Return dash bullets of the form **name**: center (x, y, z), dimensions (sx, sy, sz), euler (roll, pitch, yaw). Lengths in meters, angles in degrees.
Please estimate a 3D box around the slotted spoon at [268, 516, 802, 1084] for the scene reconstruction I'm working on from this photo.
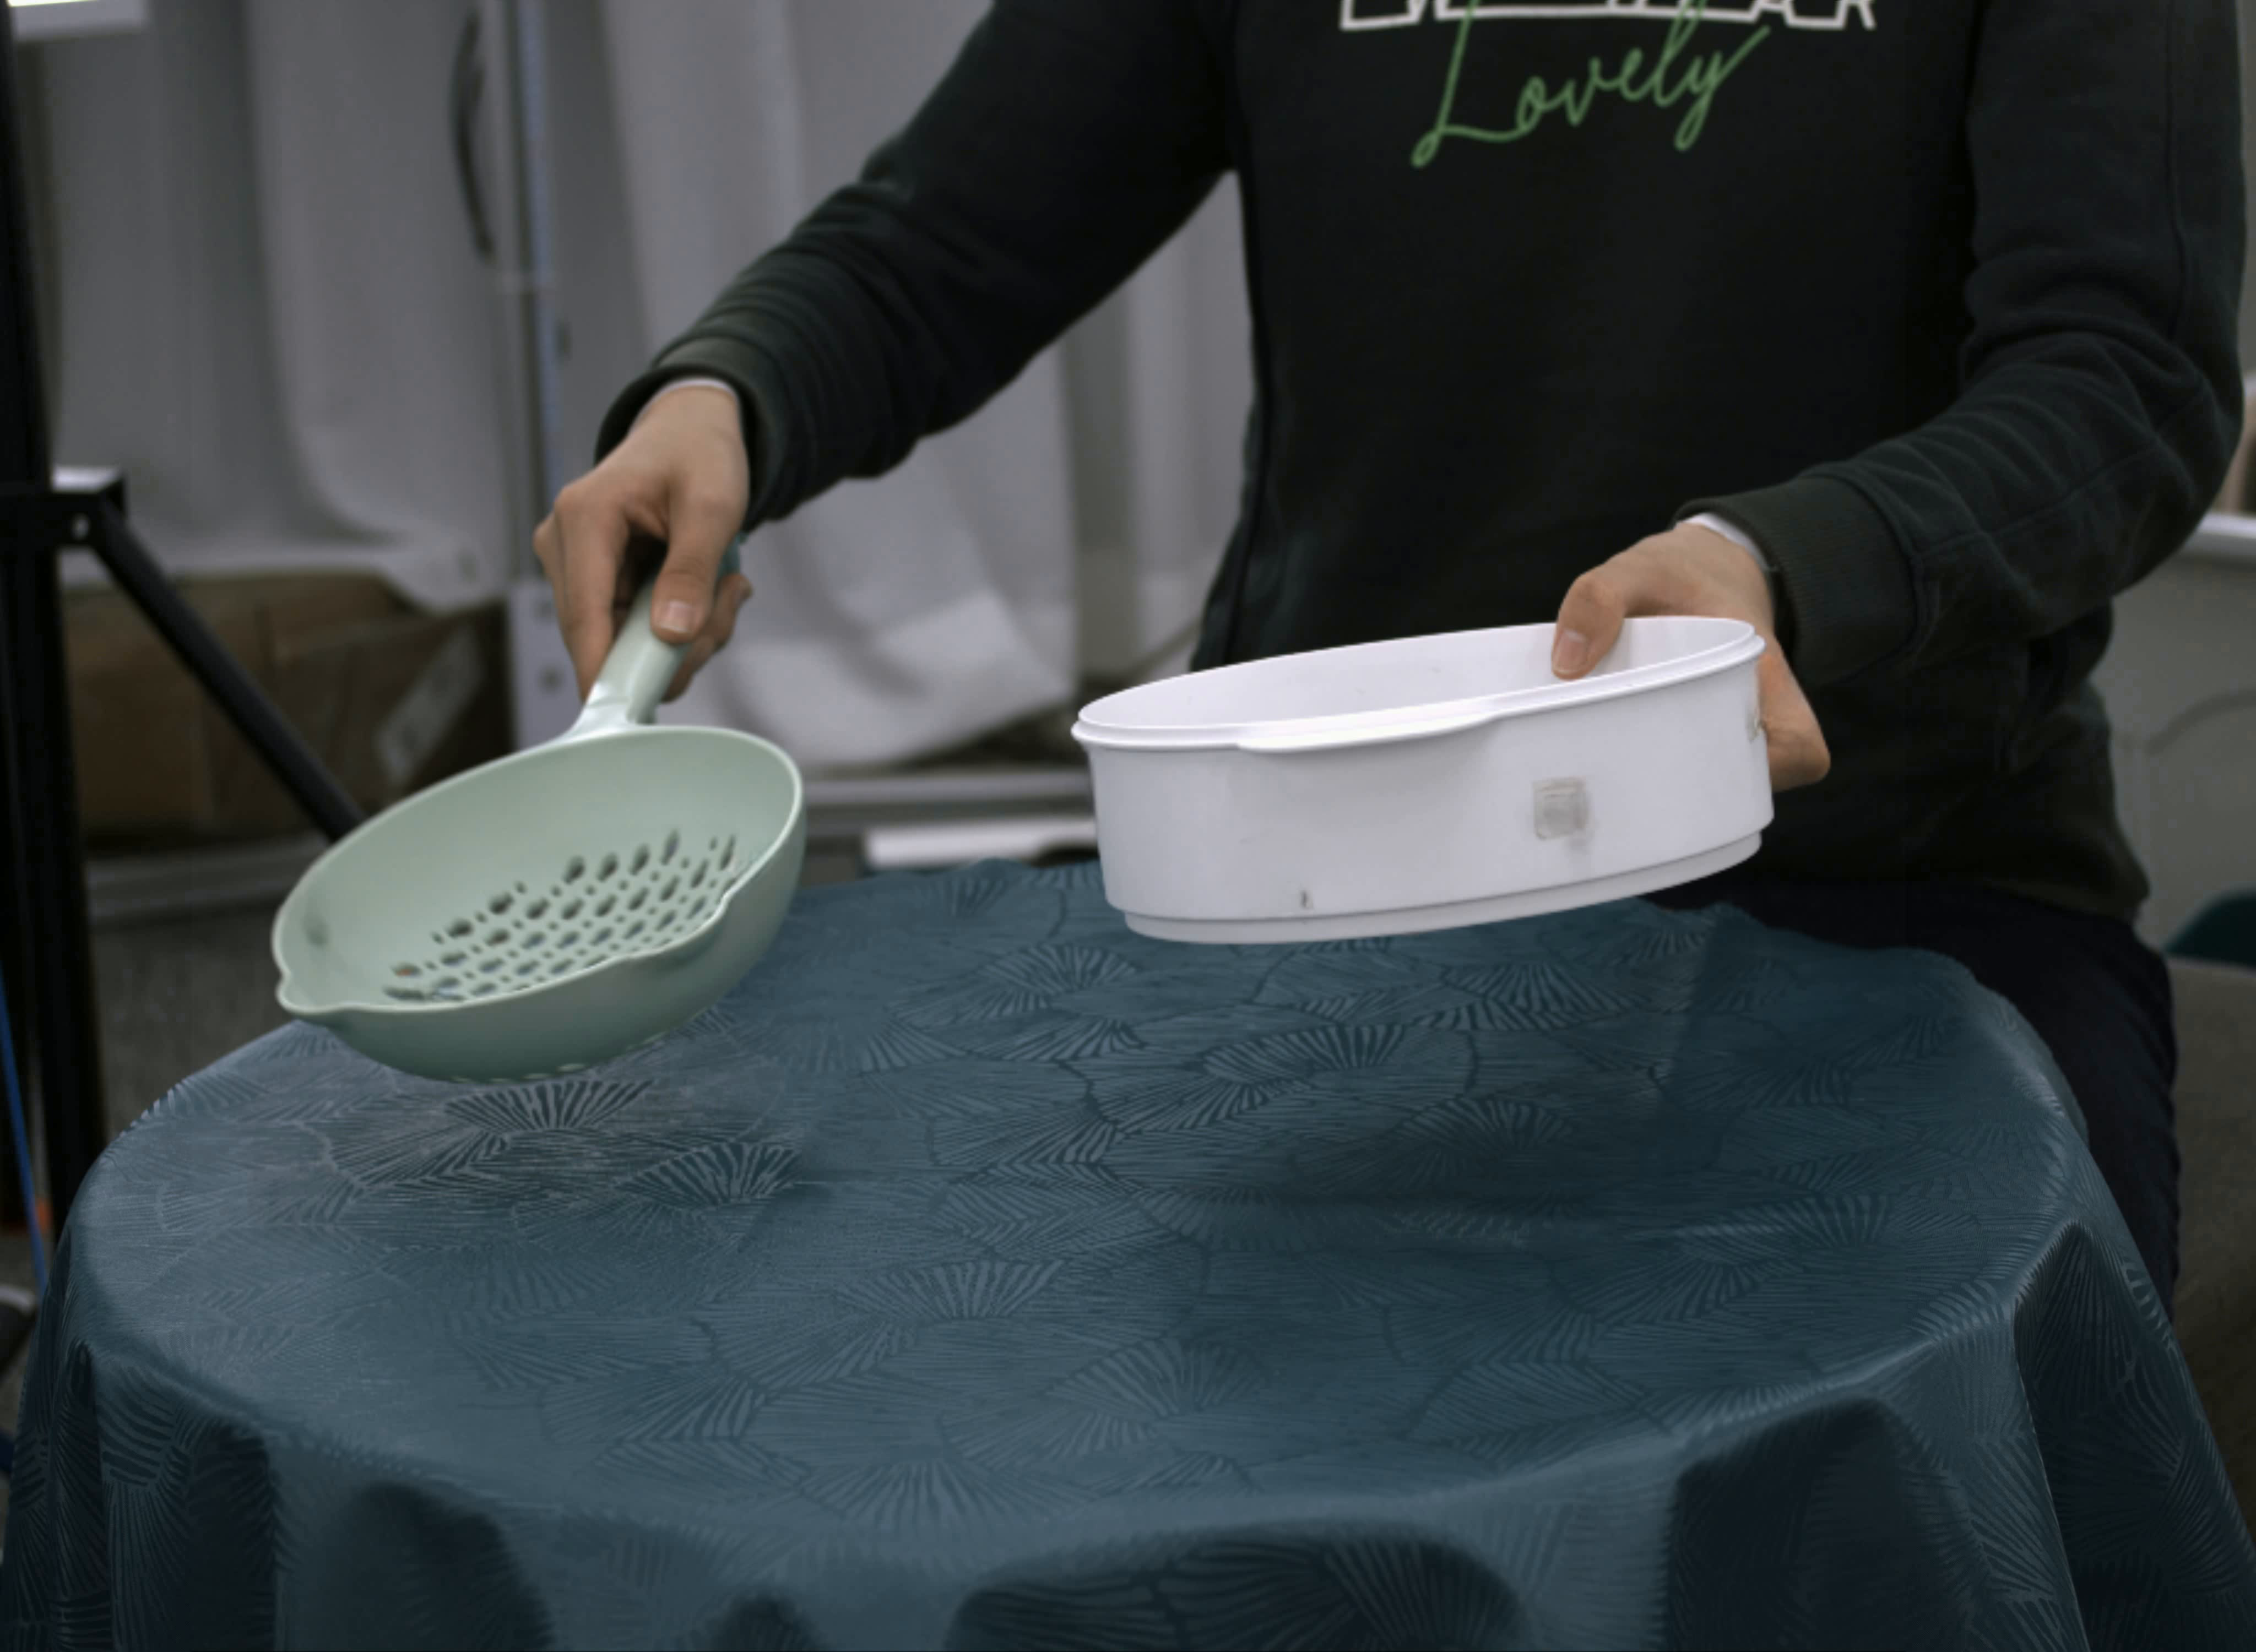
- **slotted spoon**: center (-0.166, -0.025, 1.718), dimensions (0.170, 0.074, 0.360), euler (-8, 35, 13)

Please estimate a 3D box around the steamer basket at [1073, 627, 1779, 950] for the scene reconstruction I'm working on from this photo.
- **steamer basket**: center (0.087, -0.010, 1.517), dimensions (0.203, 0.069, 0.229), euler (-5, 7, 12)
